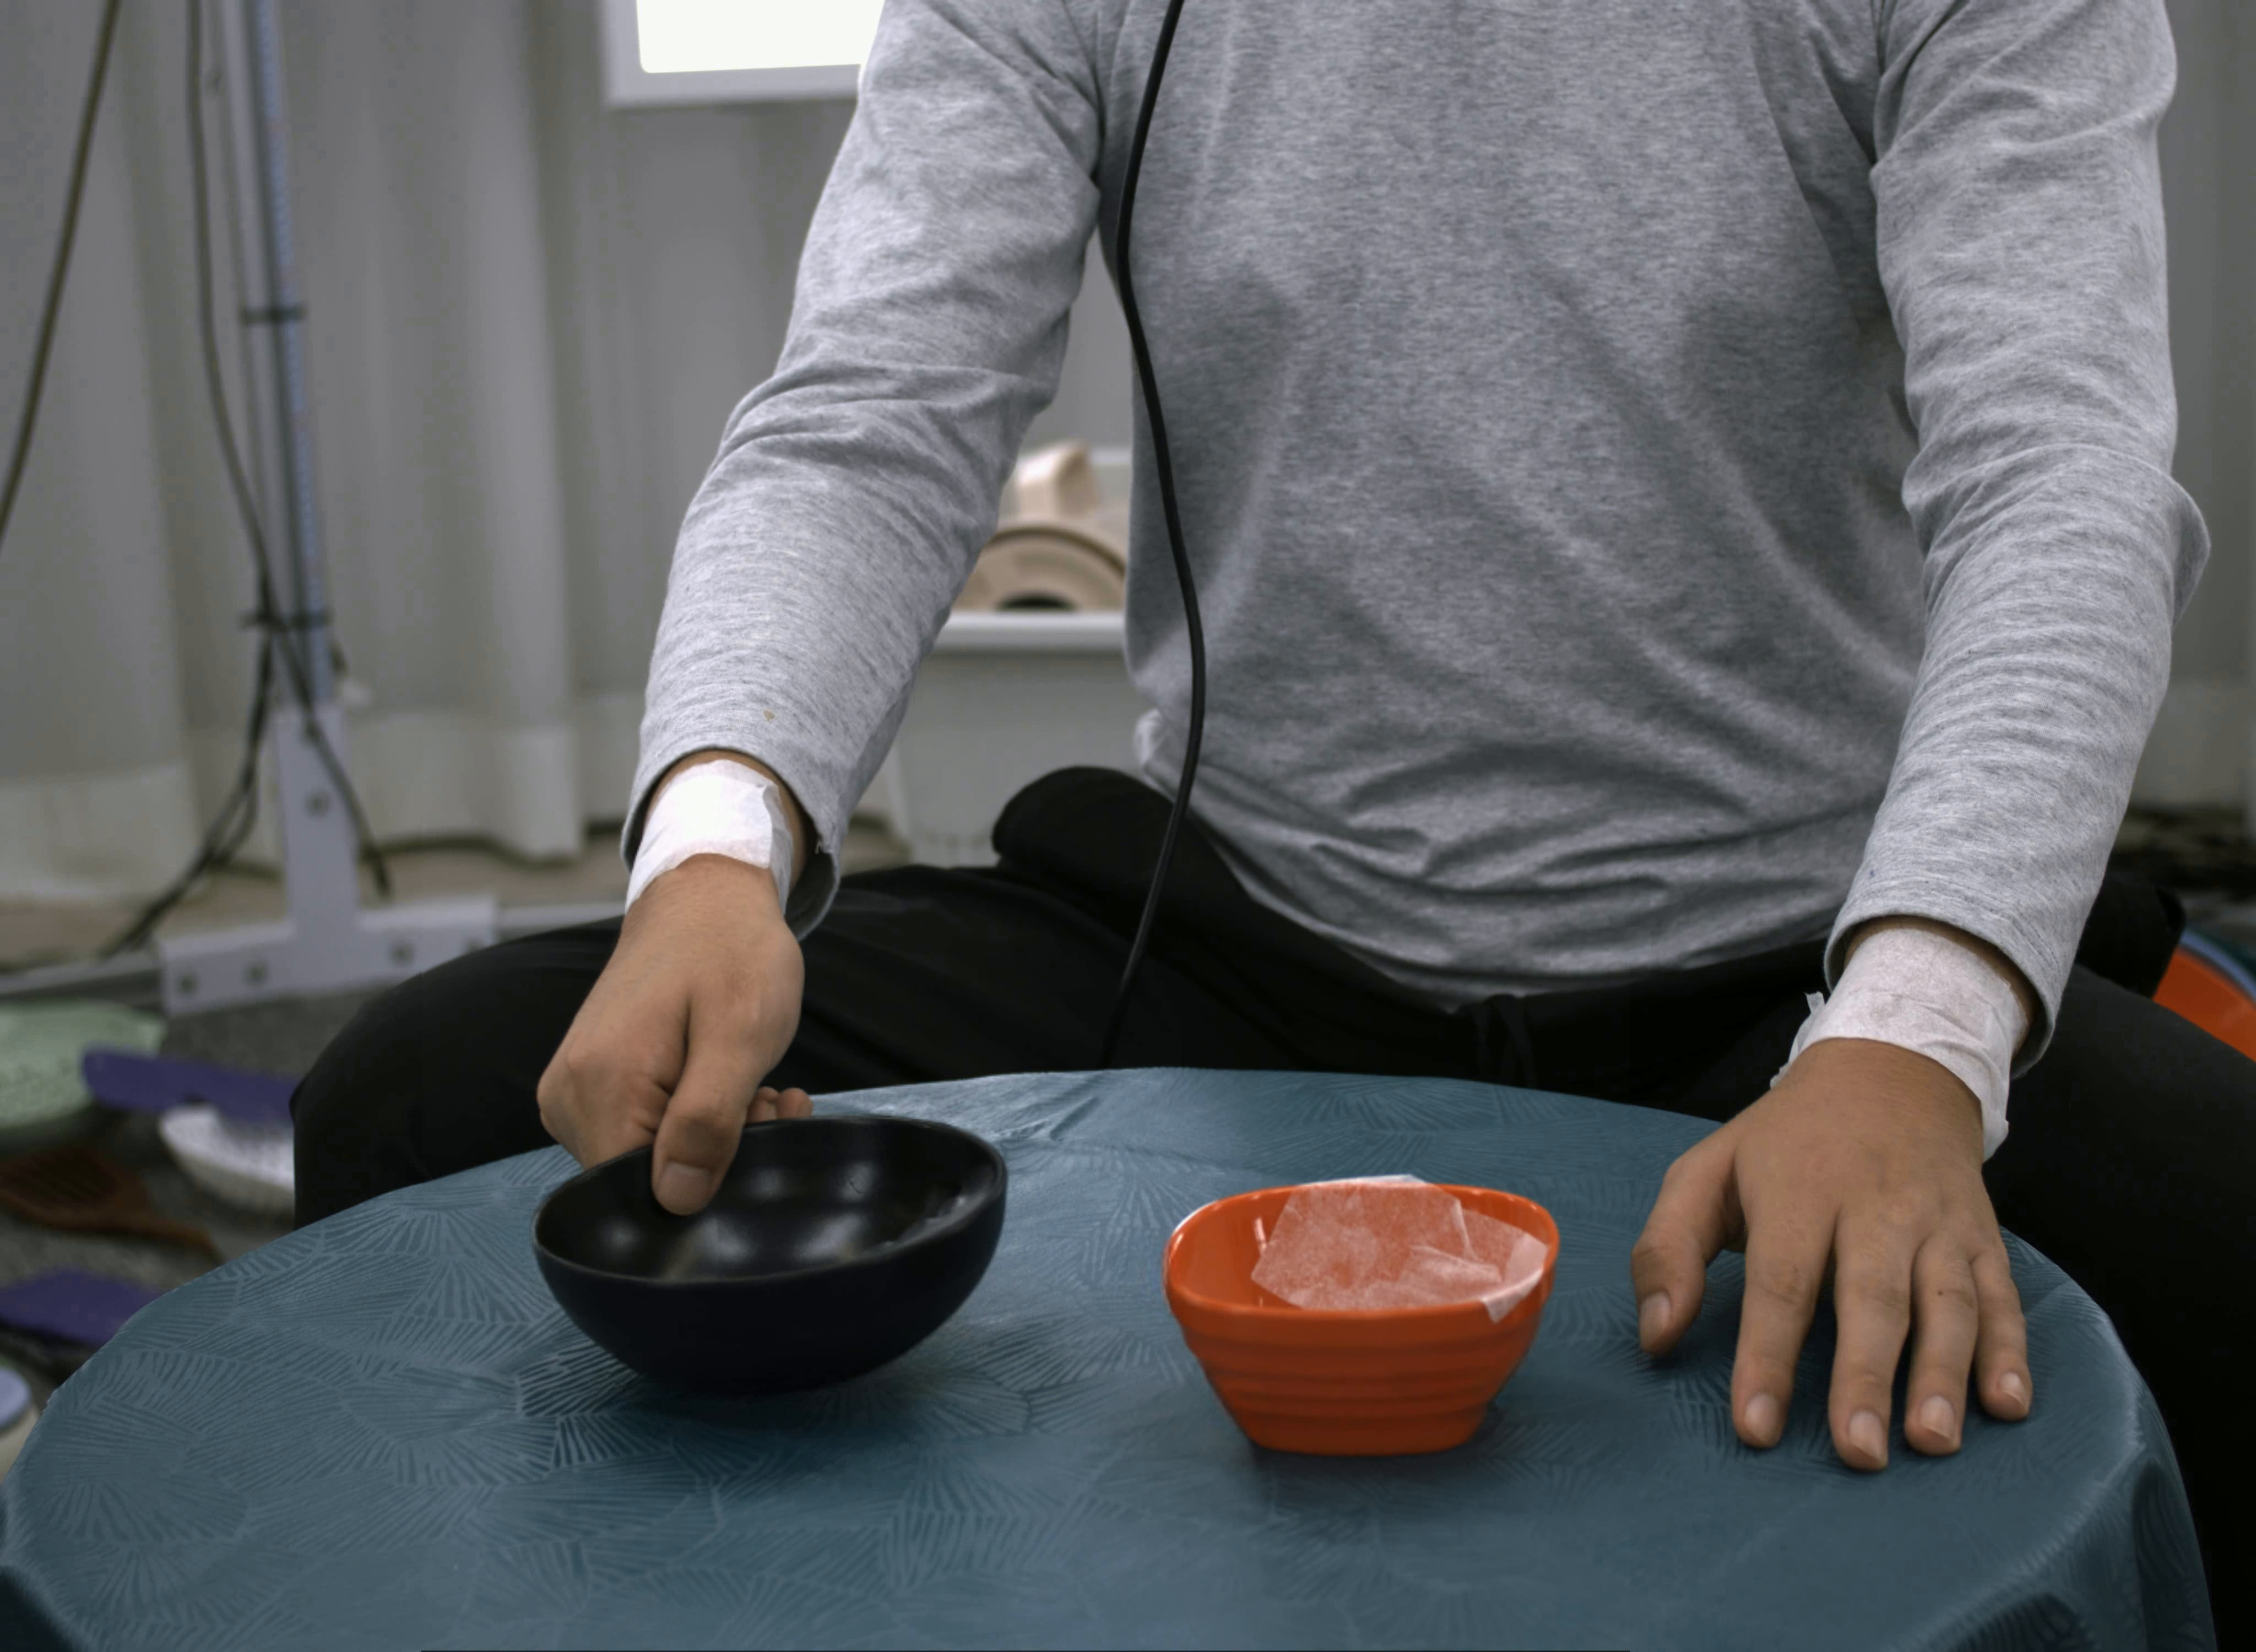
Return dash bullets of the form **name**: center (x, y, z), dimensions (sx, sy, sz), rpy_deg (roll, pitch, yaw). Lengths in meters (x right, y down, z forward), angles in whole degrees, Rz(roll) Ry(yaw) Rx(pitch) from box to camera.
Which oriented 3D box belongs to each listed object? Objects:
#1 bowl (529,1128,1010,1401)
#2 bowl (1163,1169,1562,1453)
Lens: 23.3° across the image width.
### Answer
- **bowl**: center (-0.100, 0.131, 1.573), dimensions (0.139, 0.049, 0.141), rpy_deg (-5, 13, 1)
- **bowl**: center (0.066, 0.137, 1.514), dimensions (0.118, 0.051, 0.120), rpy_deg (-4, 17, 1)
